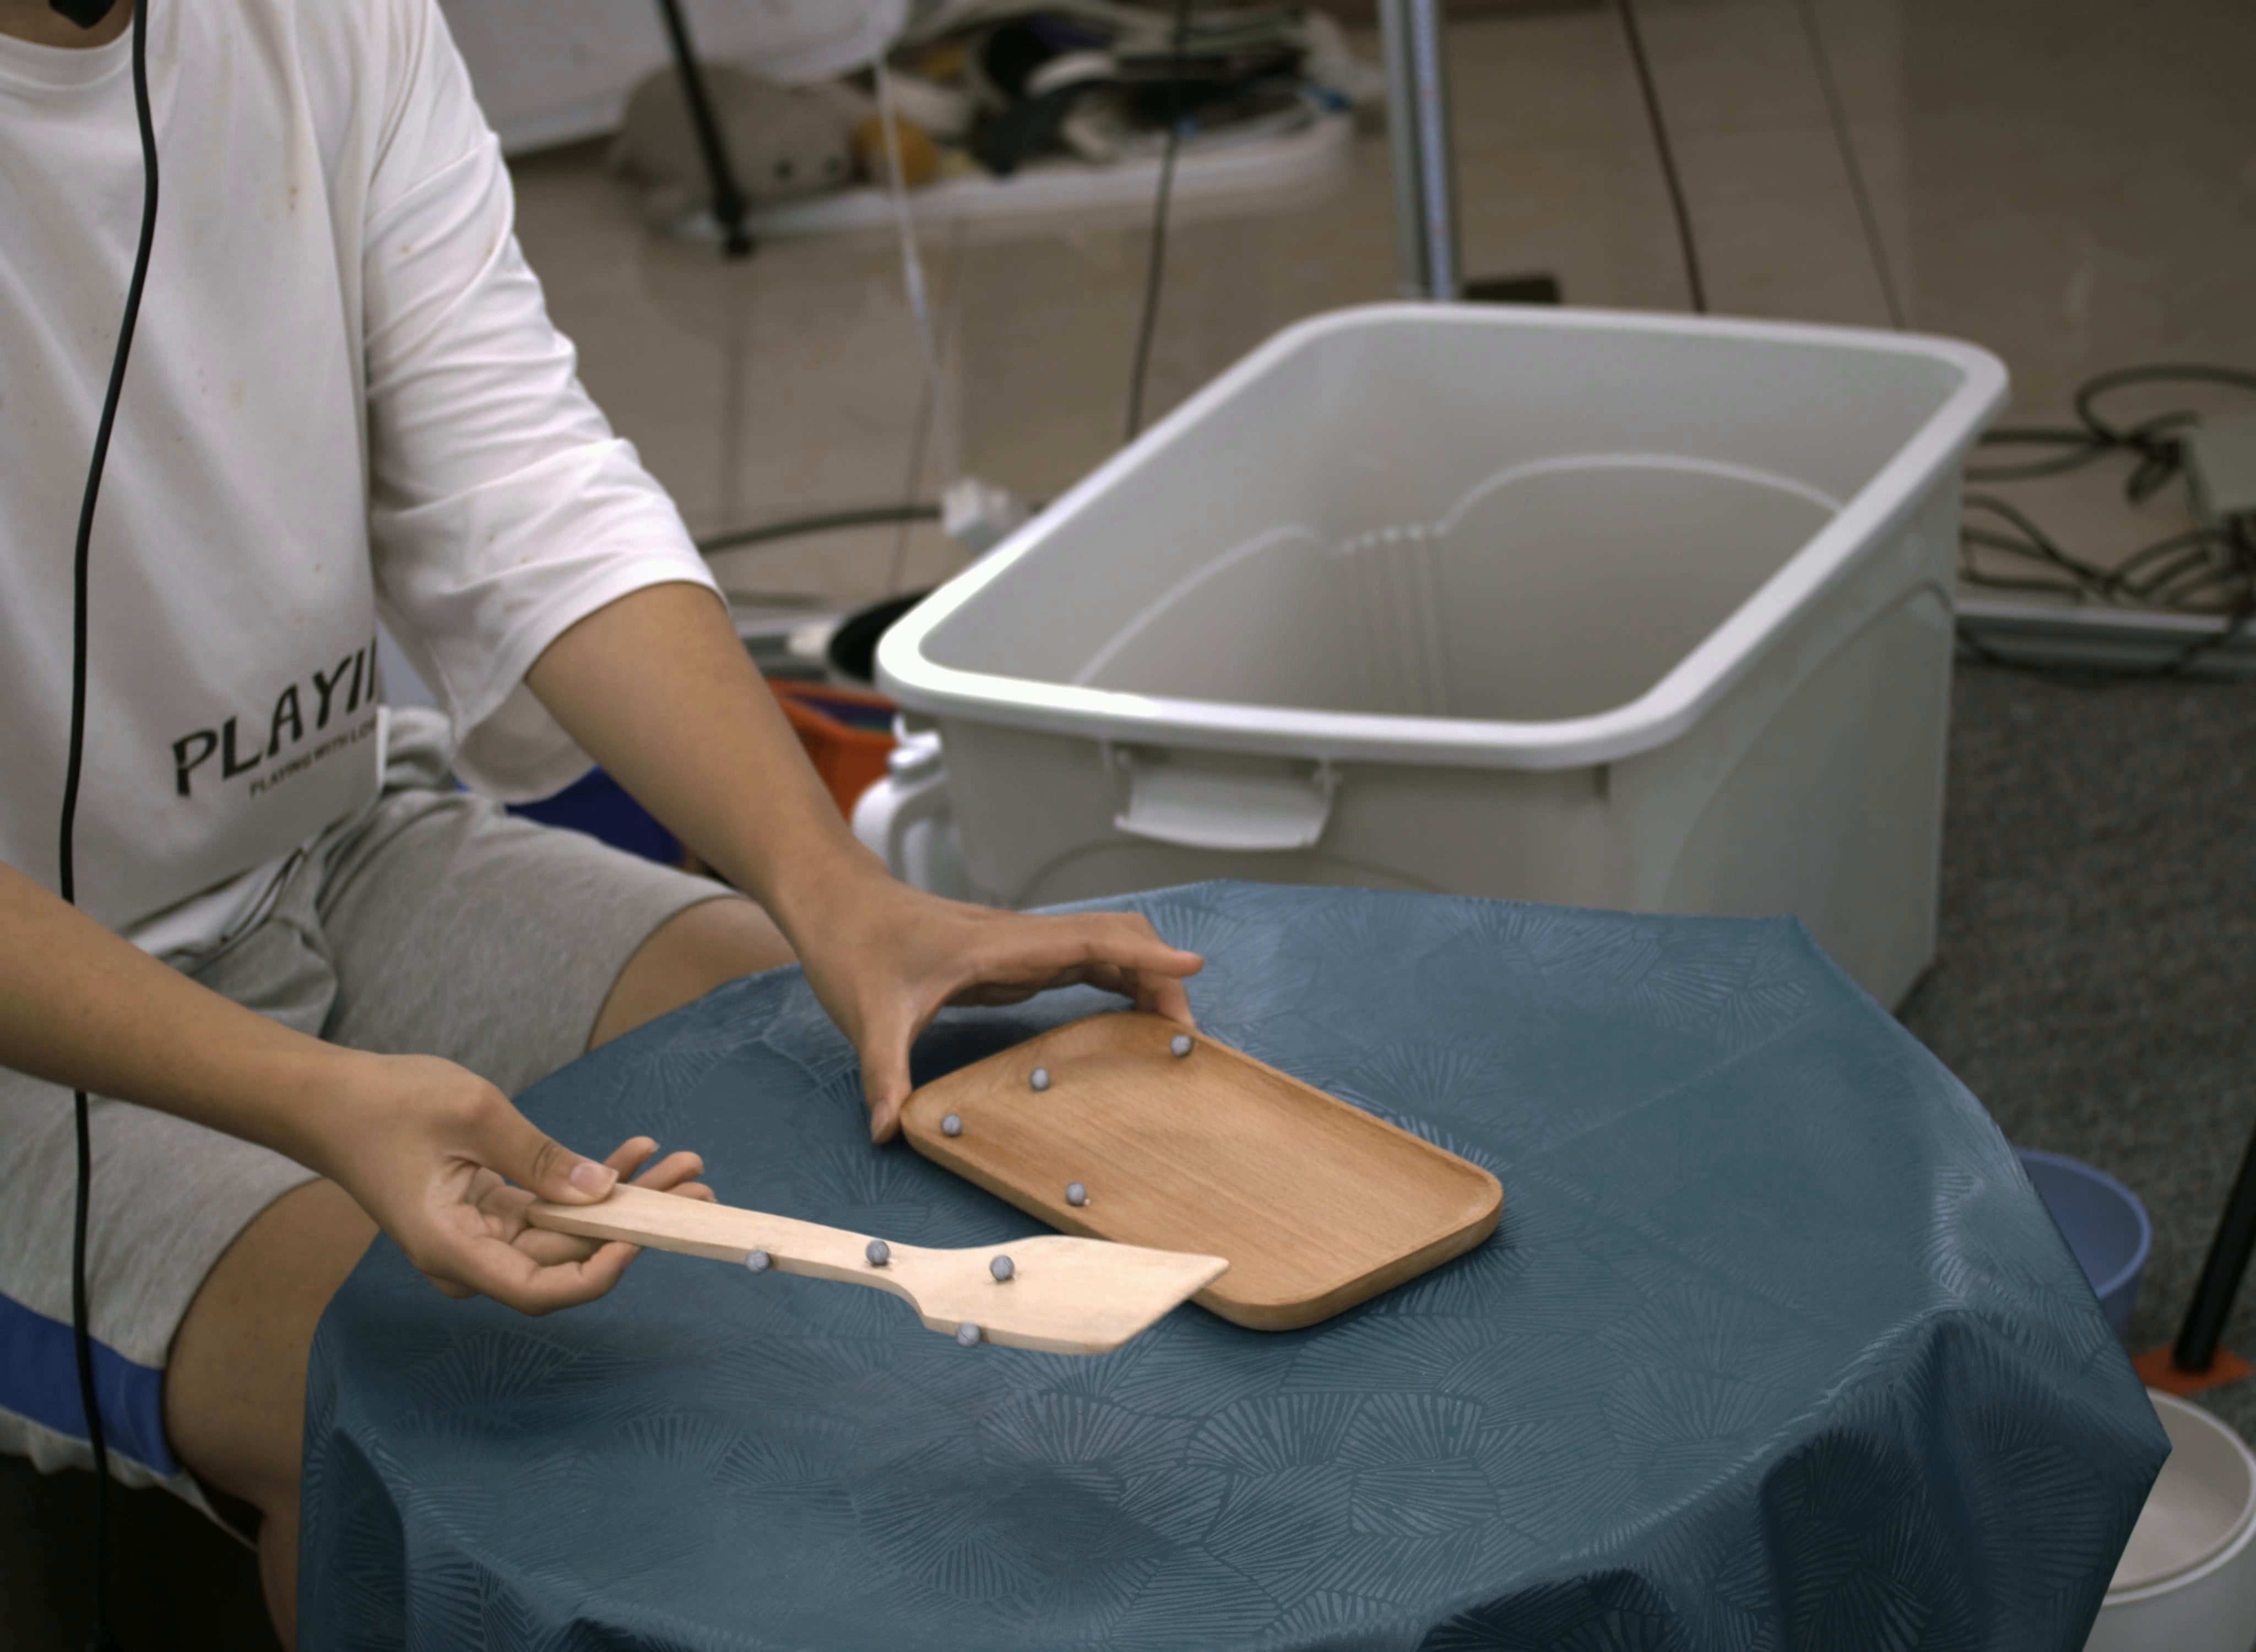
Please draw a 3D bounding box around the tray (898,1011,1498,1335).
[{"bbox_3d":[0.024,0.129,2.144,0.129,0.023,0.248,-24,30,-28],"label":"tray"}]

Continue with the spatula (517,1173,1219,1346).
[{"bbox_3d":[-0.103,0.147,1.980,0.292,0.011,0.071,6,26,37],"label":"spatula"}]
